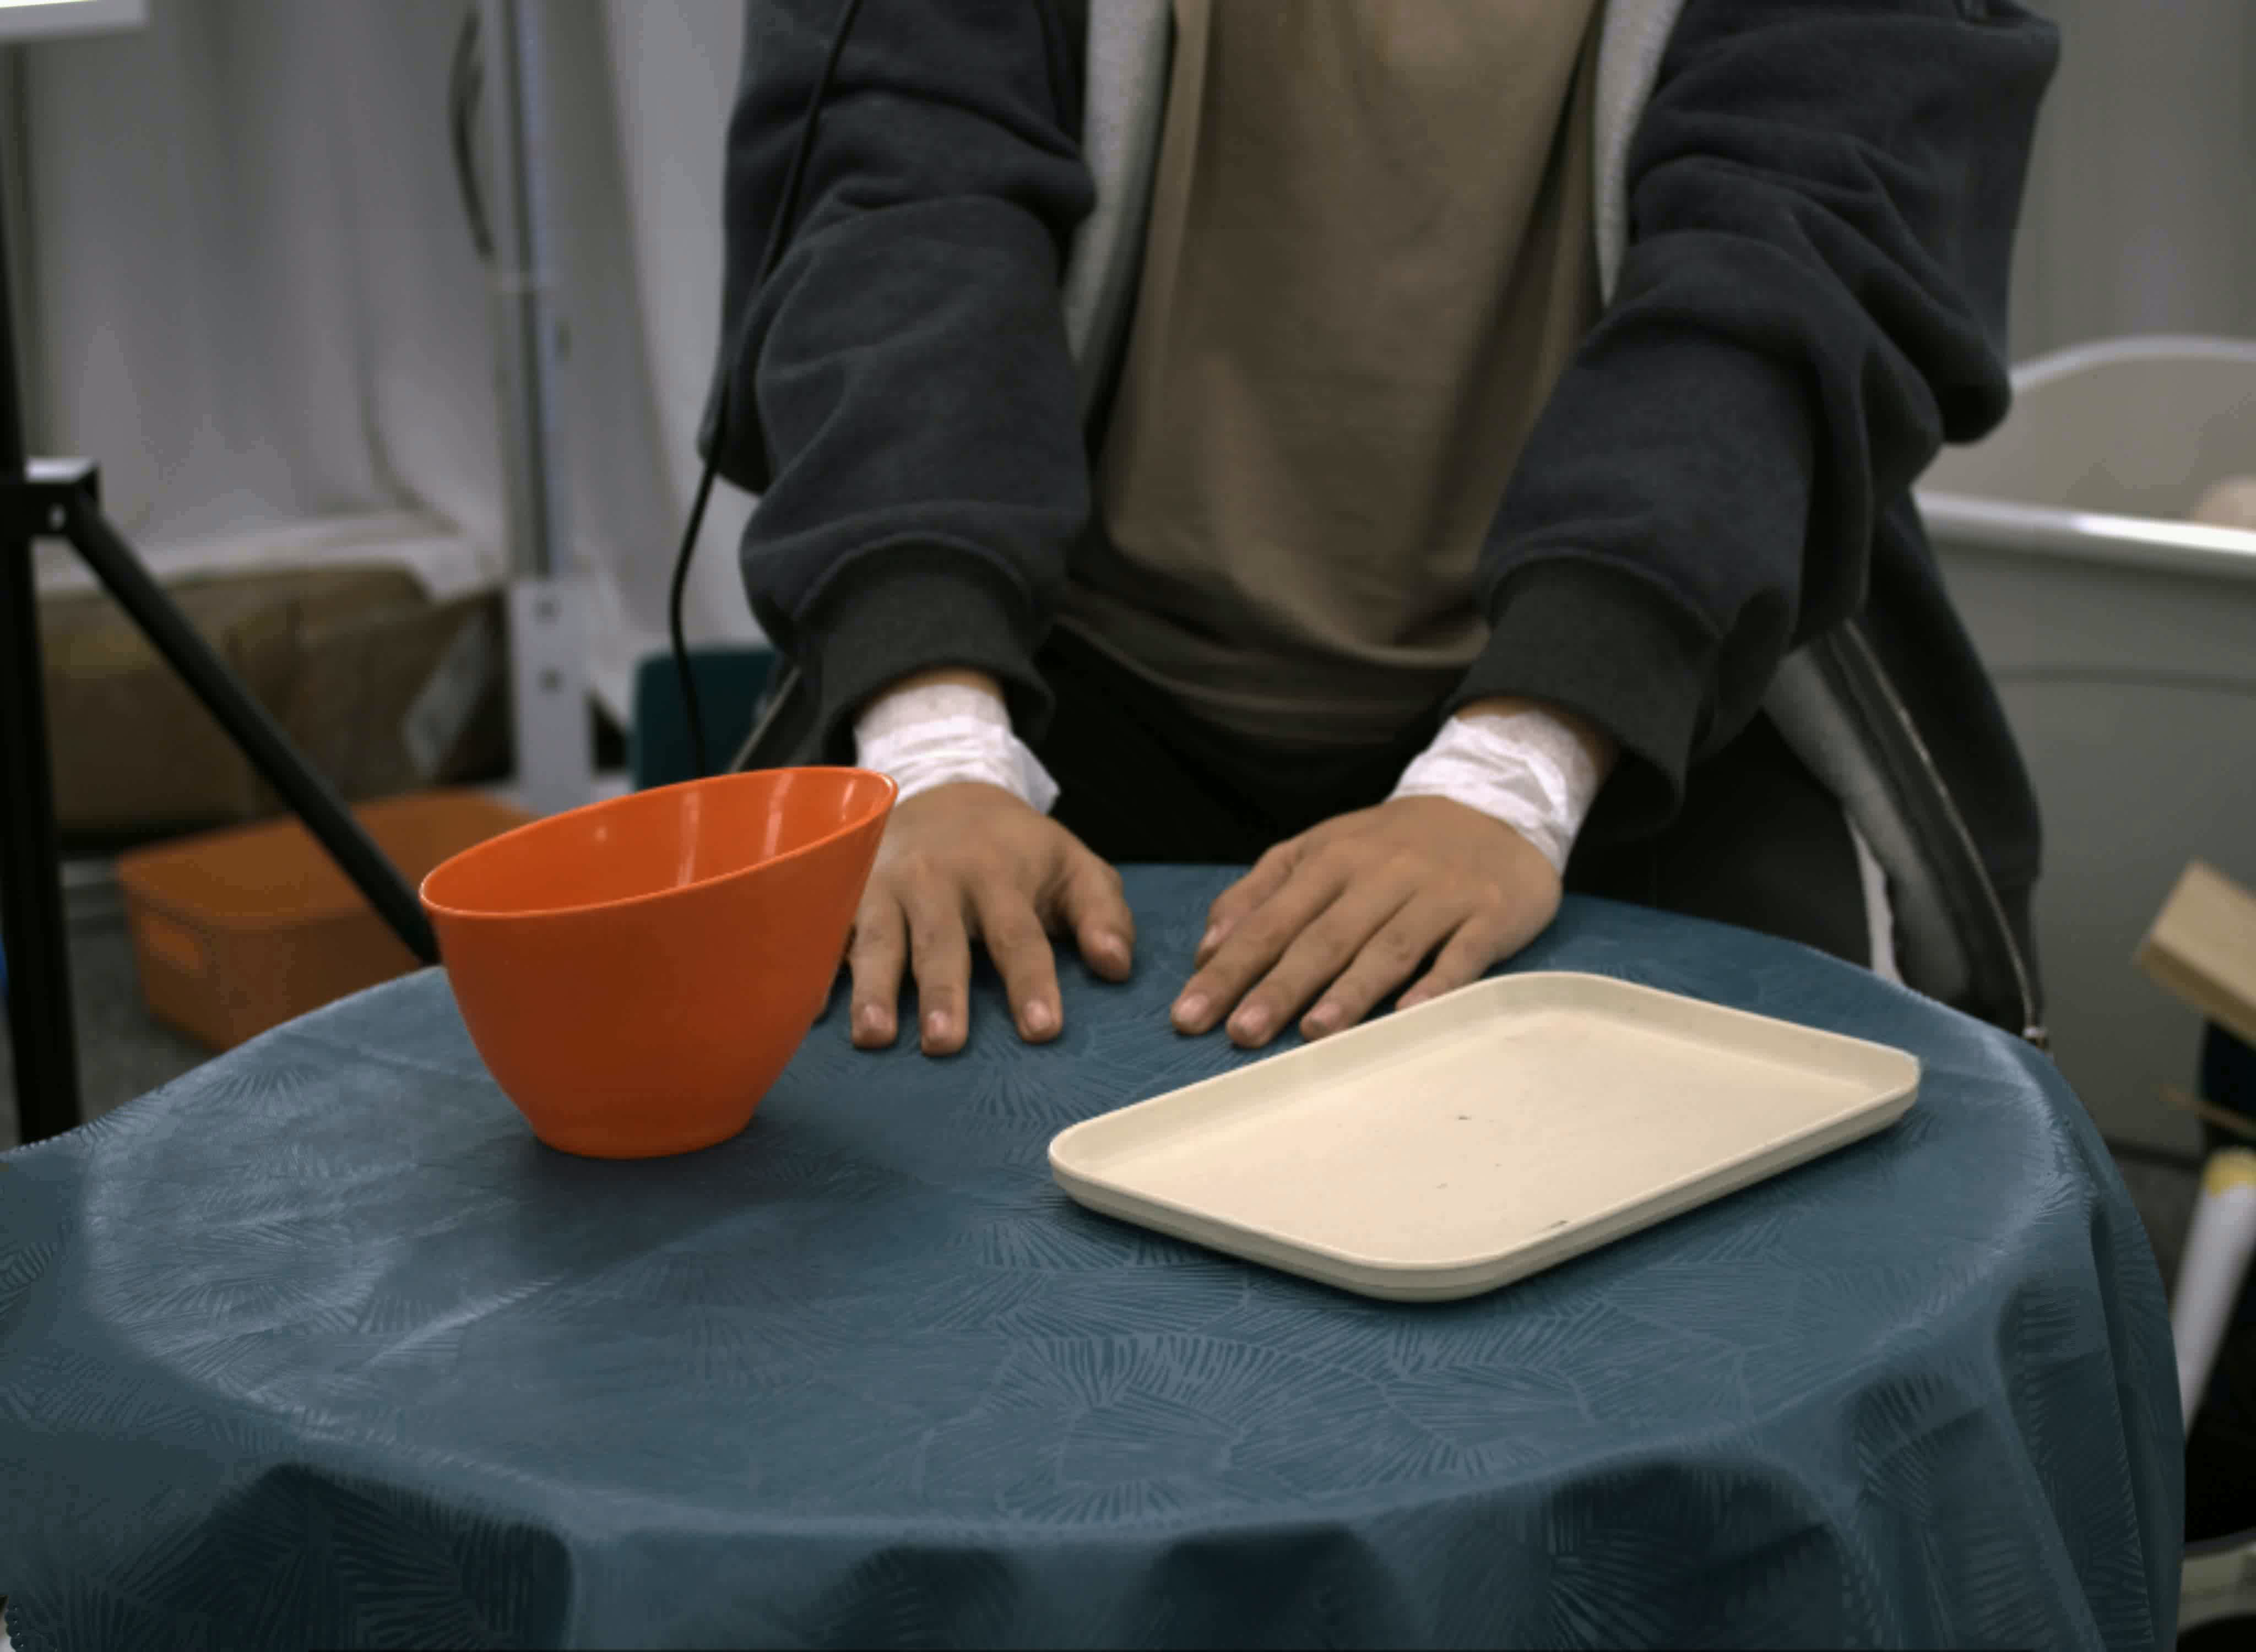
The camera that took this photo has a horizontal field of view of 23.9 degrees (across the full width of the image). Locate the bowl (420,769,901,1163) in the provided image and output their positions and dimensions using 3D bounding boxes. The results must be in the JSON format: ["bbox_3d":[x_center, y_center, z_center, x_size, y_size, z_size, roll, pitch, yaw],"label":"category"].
[{"bbox_3d":[-0.141,0.044,1.625,0.147,0.104,0.149,-2,17,-1],"label":"bowl"}]

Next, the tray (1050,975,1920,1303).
[{"bbox_3d":[0.108,0.091,1.569,0.234,0.017,0.175,-17,20,-41],"label":"tray"}]
